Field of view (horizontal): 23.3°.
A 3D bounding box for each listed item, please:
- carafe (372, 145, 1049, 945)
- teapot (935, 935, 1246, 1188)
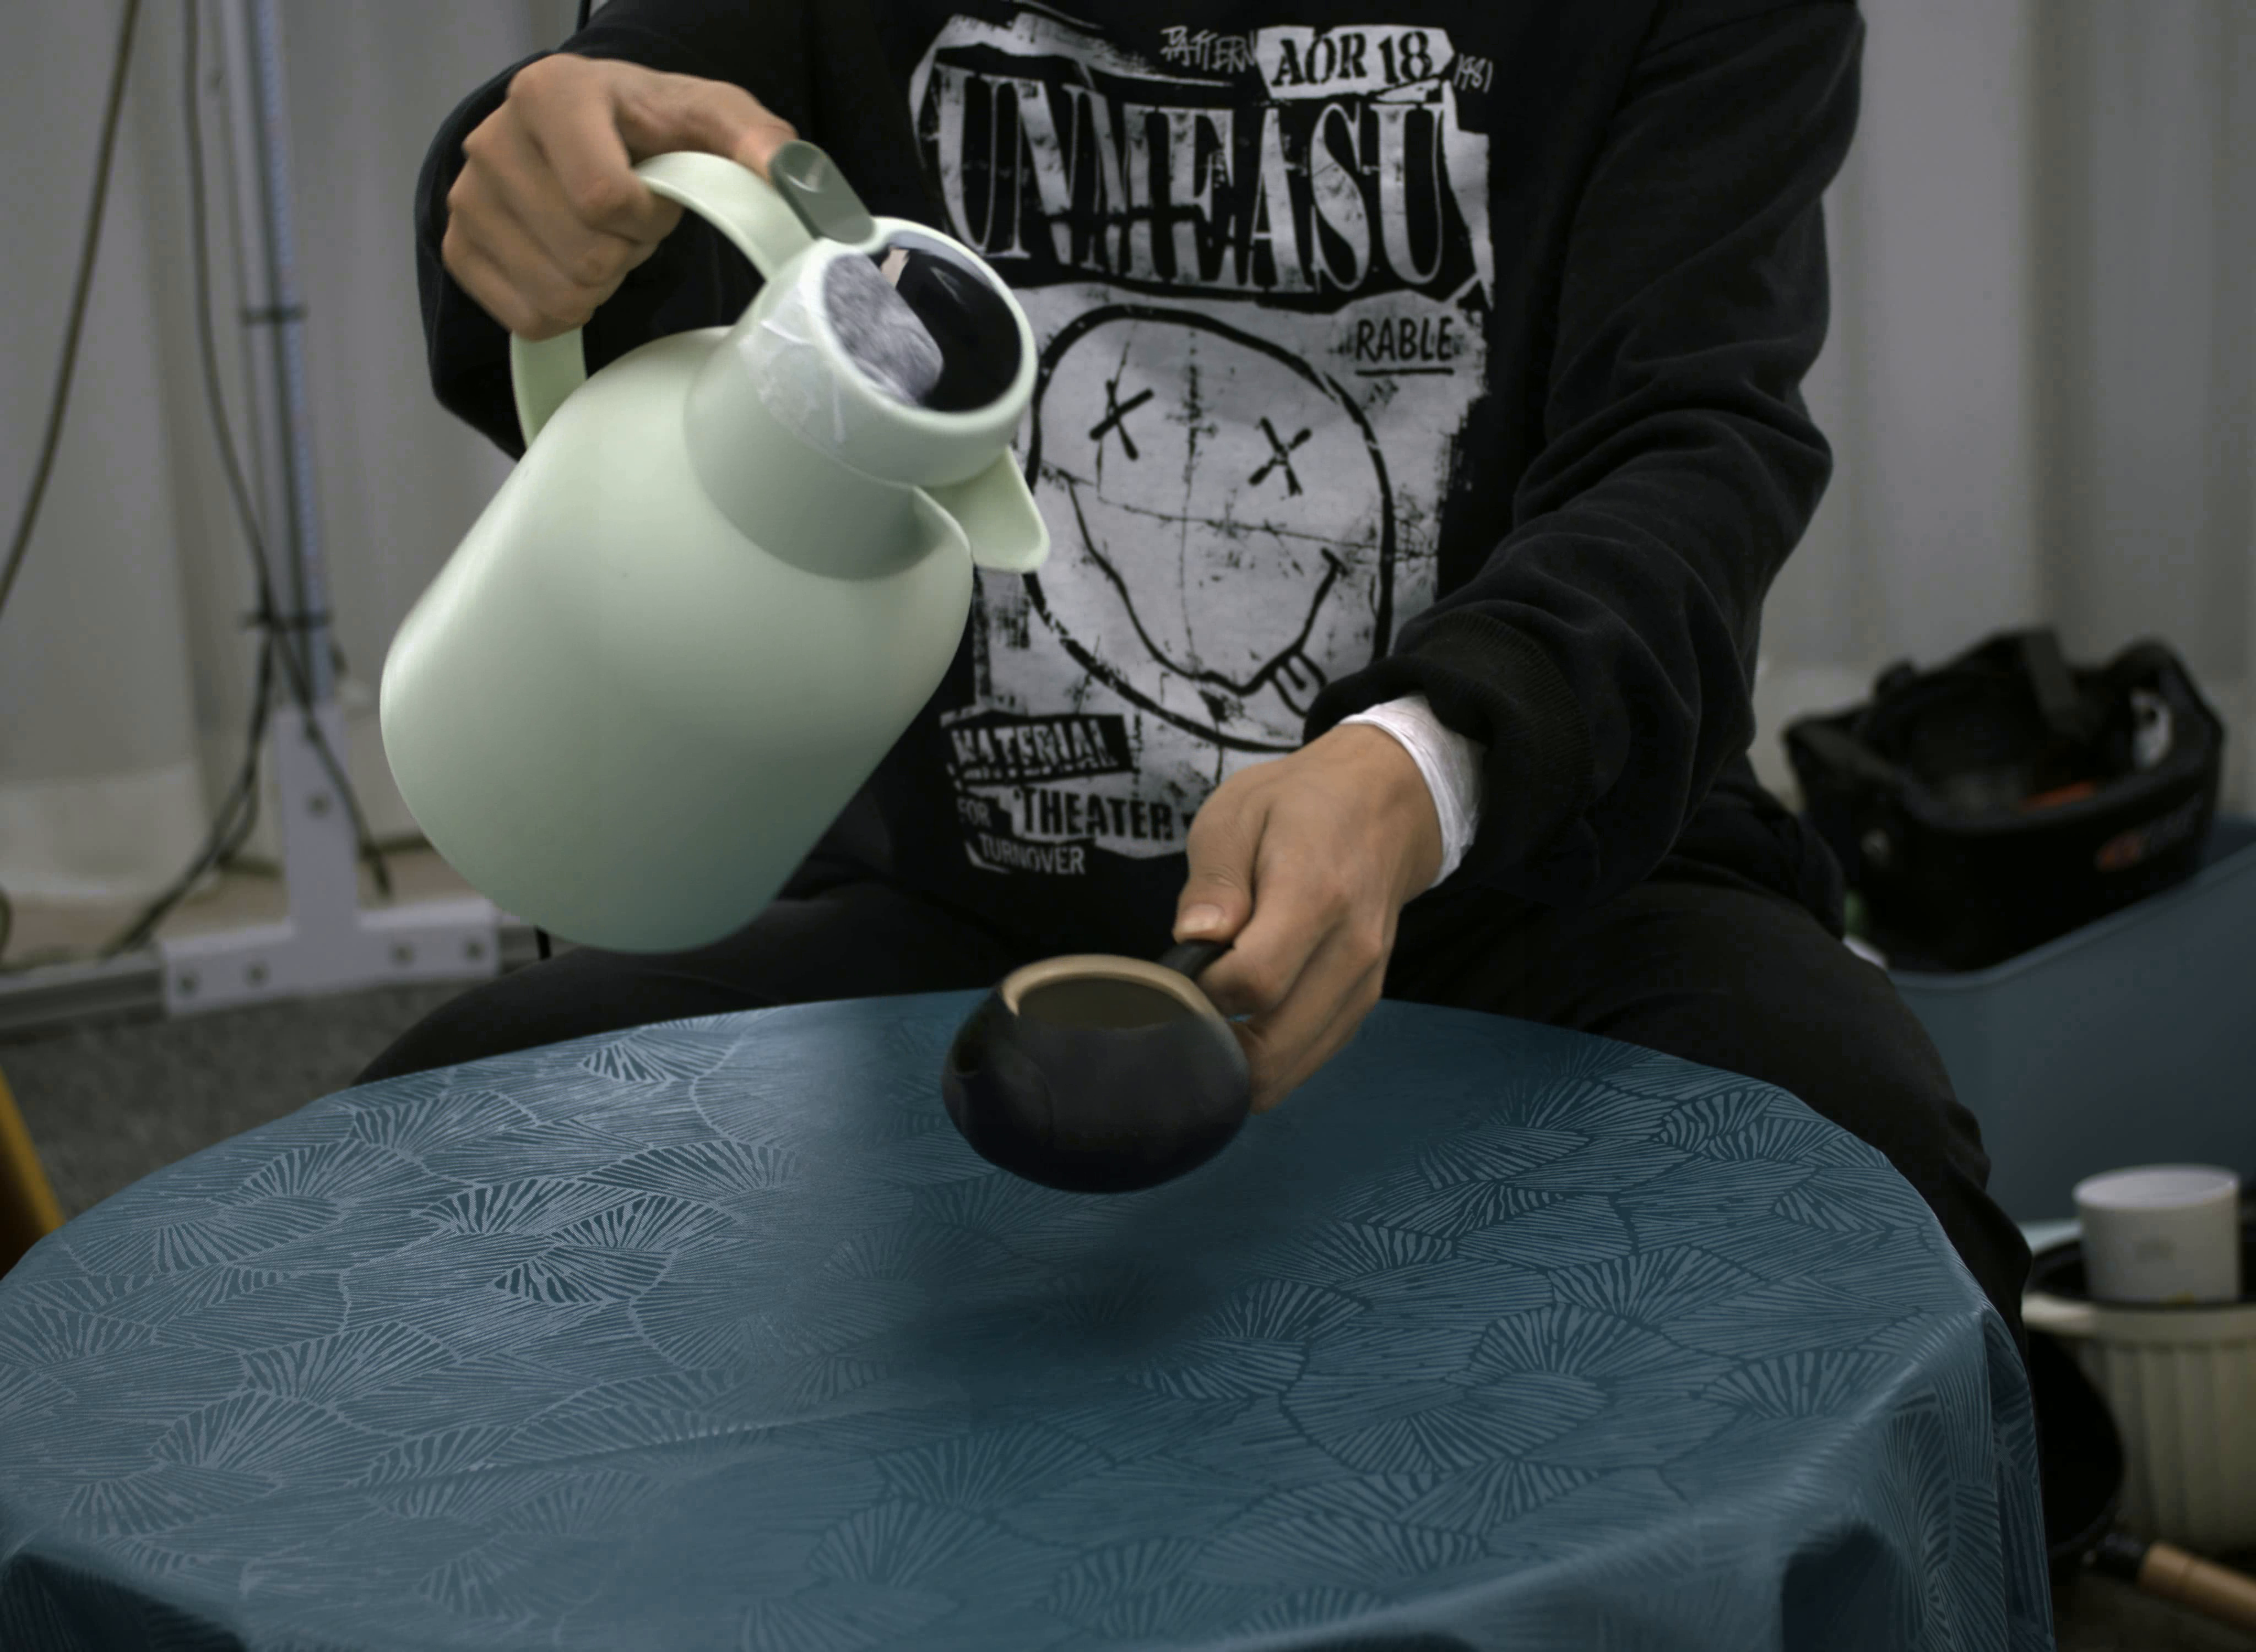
[{"bbox_3d":[-0.126,-0.092,1.646,0.144,0.188,0.255,-28,-15,-42],"label":"carafe"},{"bbox_3d":[-0.010,0.071,1.590,0.091,0.053,0.133,17,25,32],"label":"teapot"}]
